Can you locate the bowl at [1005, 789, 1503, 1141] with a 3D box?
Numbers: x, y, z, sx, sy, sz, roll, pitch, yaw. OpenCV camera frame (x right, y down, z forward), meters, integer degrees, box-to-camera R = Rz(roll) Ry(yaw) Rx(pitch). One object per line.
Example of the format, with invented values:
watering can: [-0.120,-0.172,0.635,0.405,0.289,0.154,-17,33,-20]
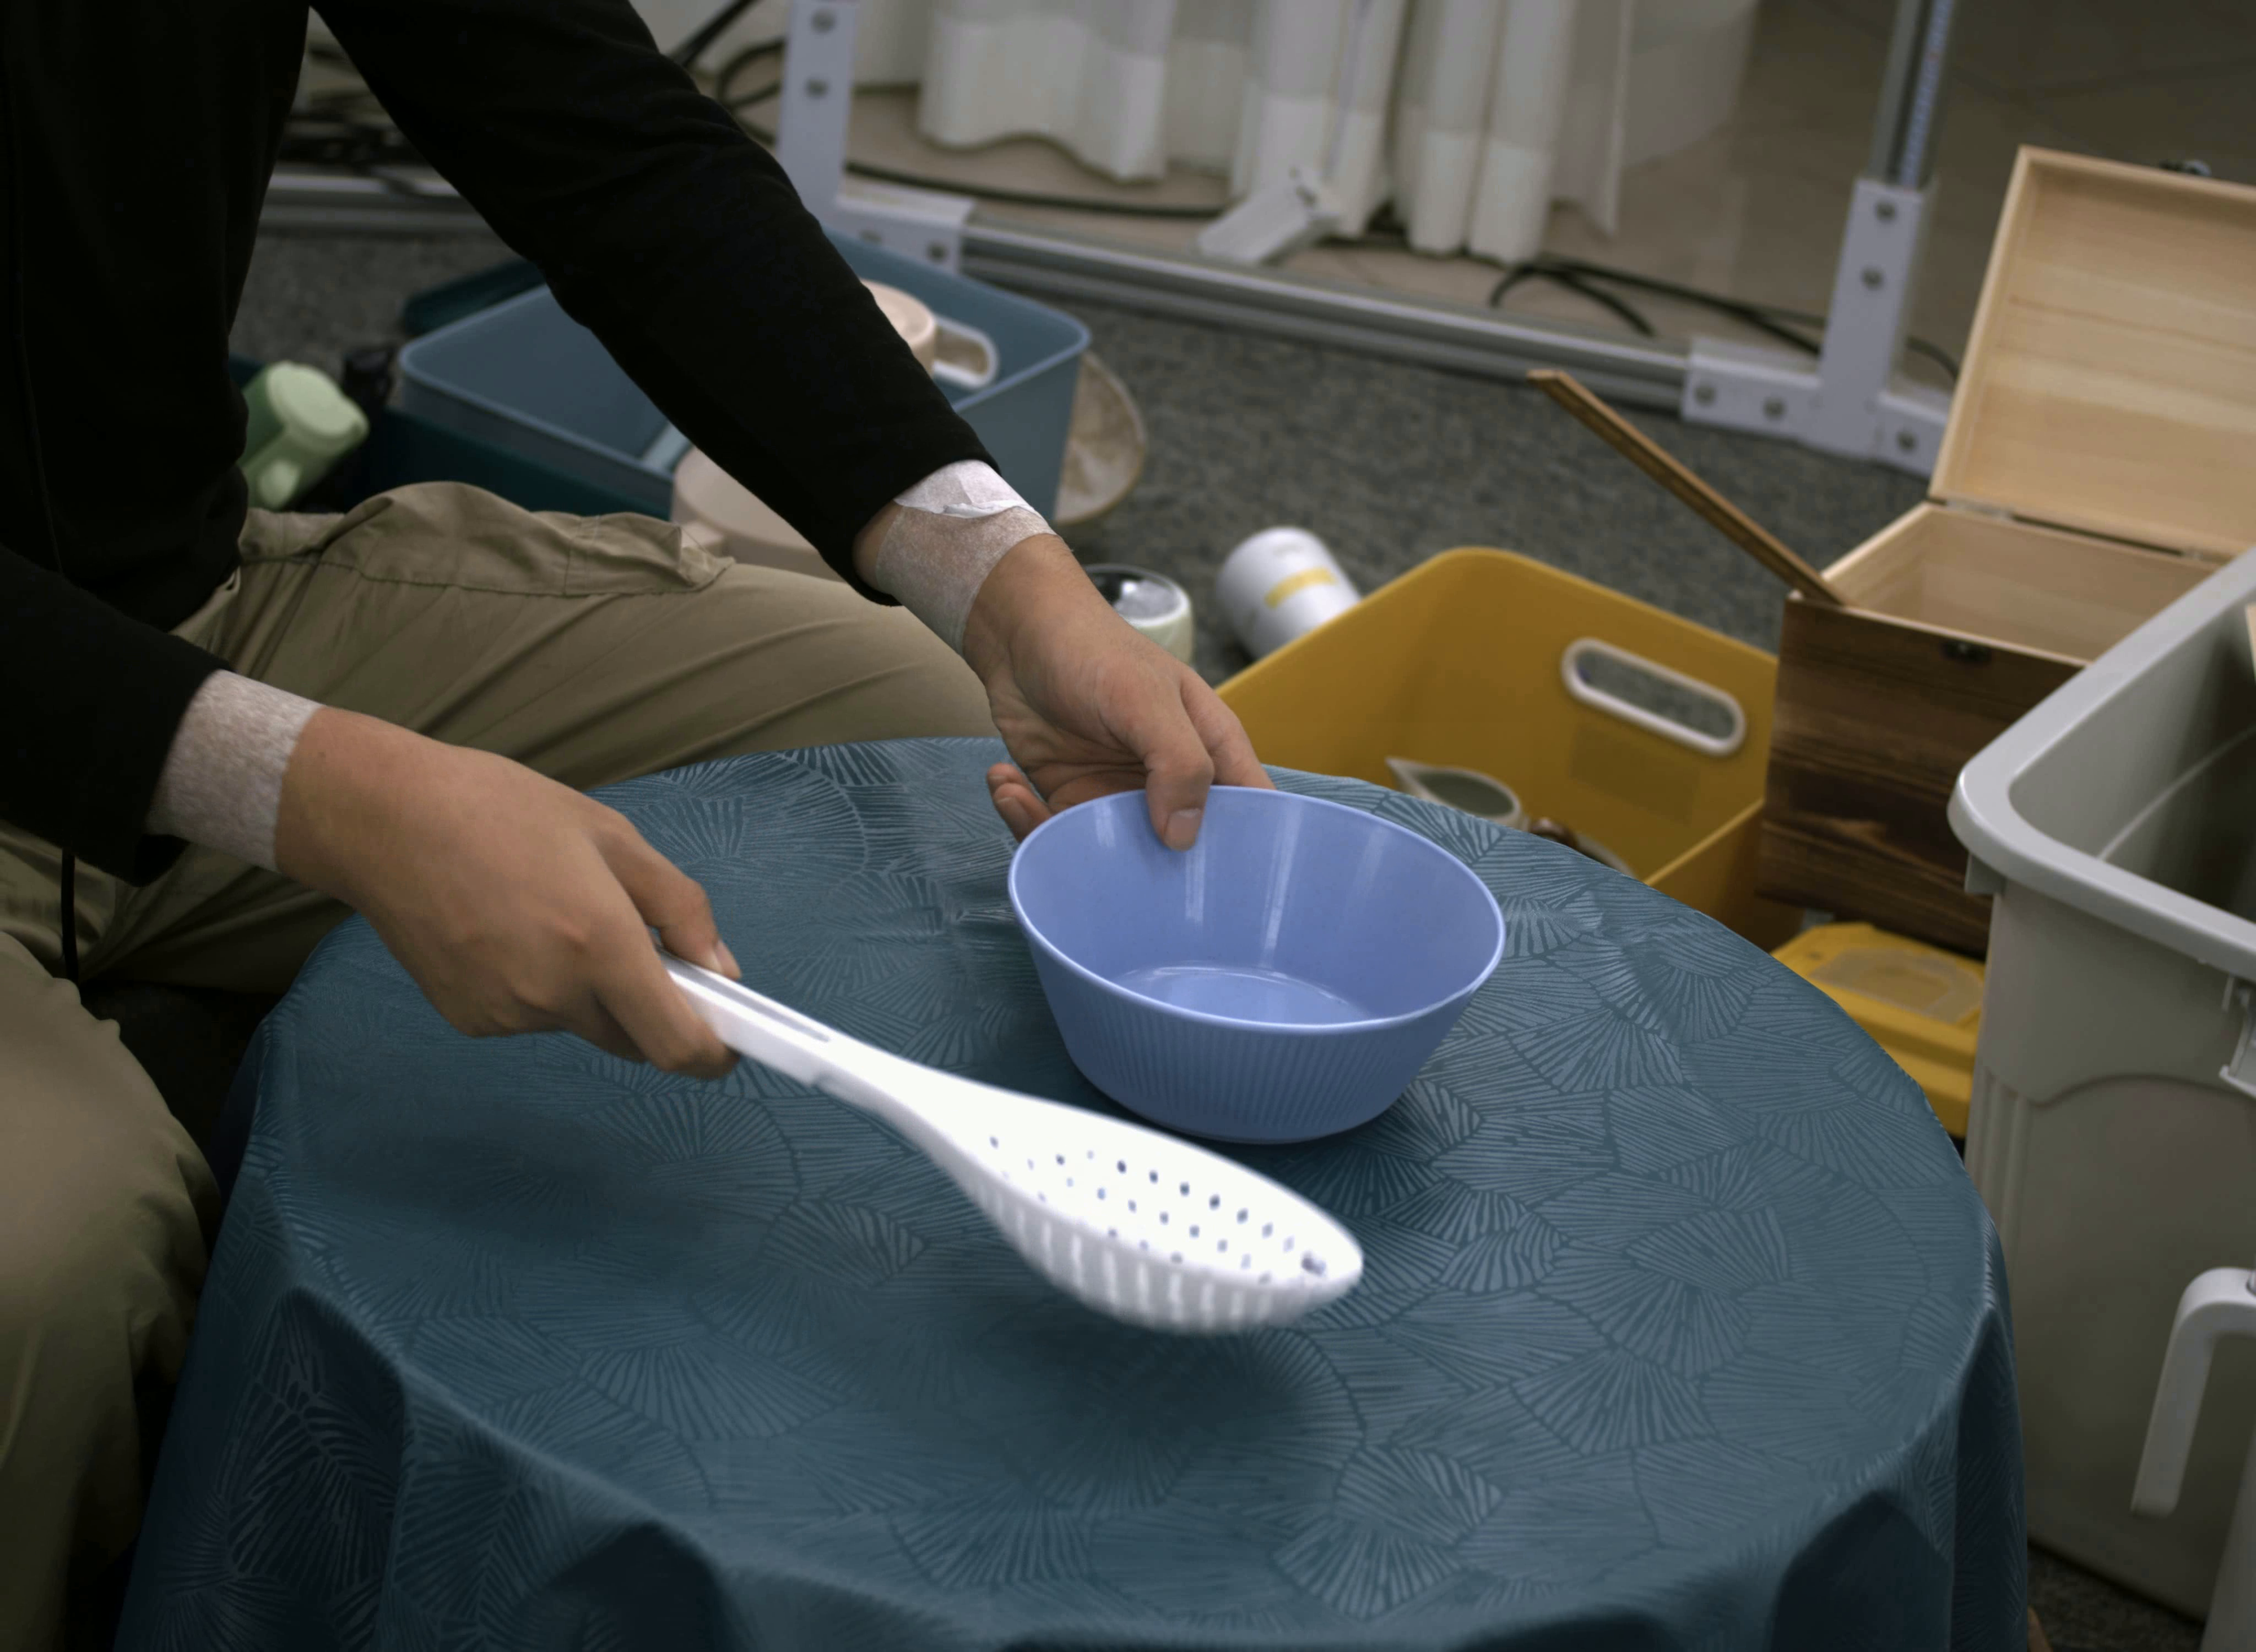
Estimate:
bowl: [0.041,0.054,1.870,0.175,0.070,0.177,5,26,-3]

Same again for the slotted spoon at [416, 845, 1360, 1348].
slotted spoon: [-0.084,0.084,1.717,0.351,0.046,0.135,30,16,19]
